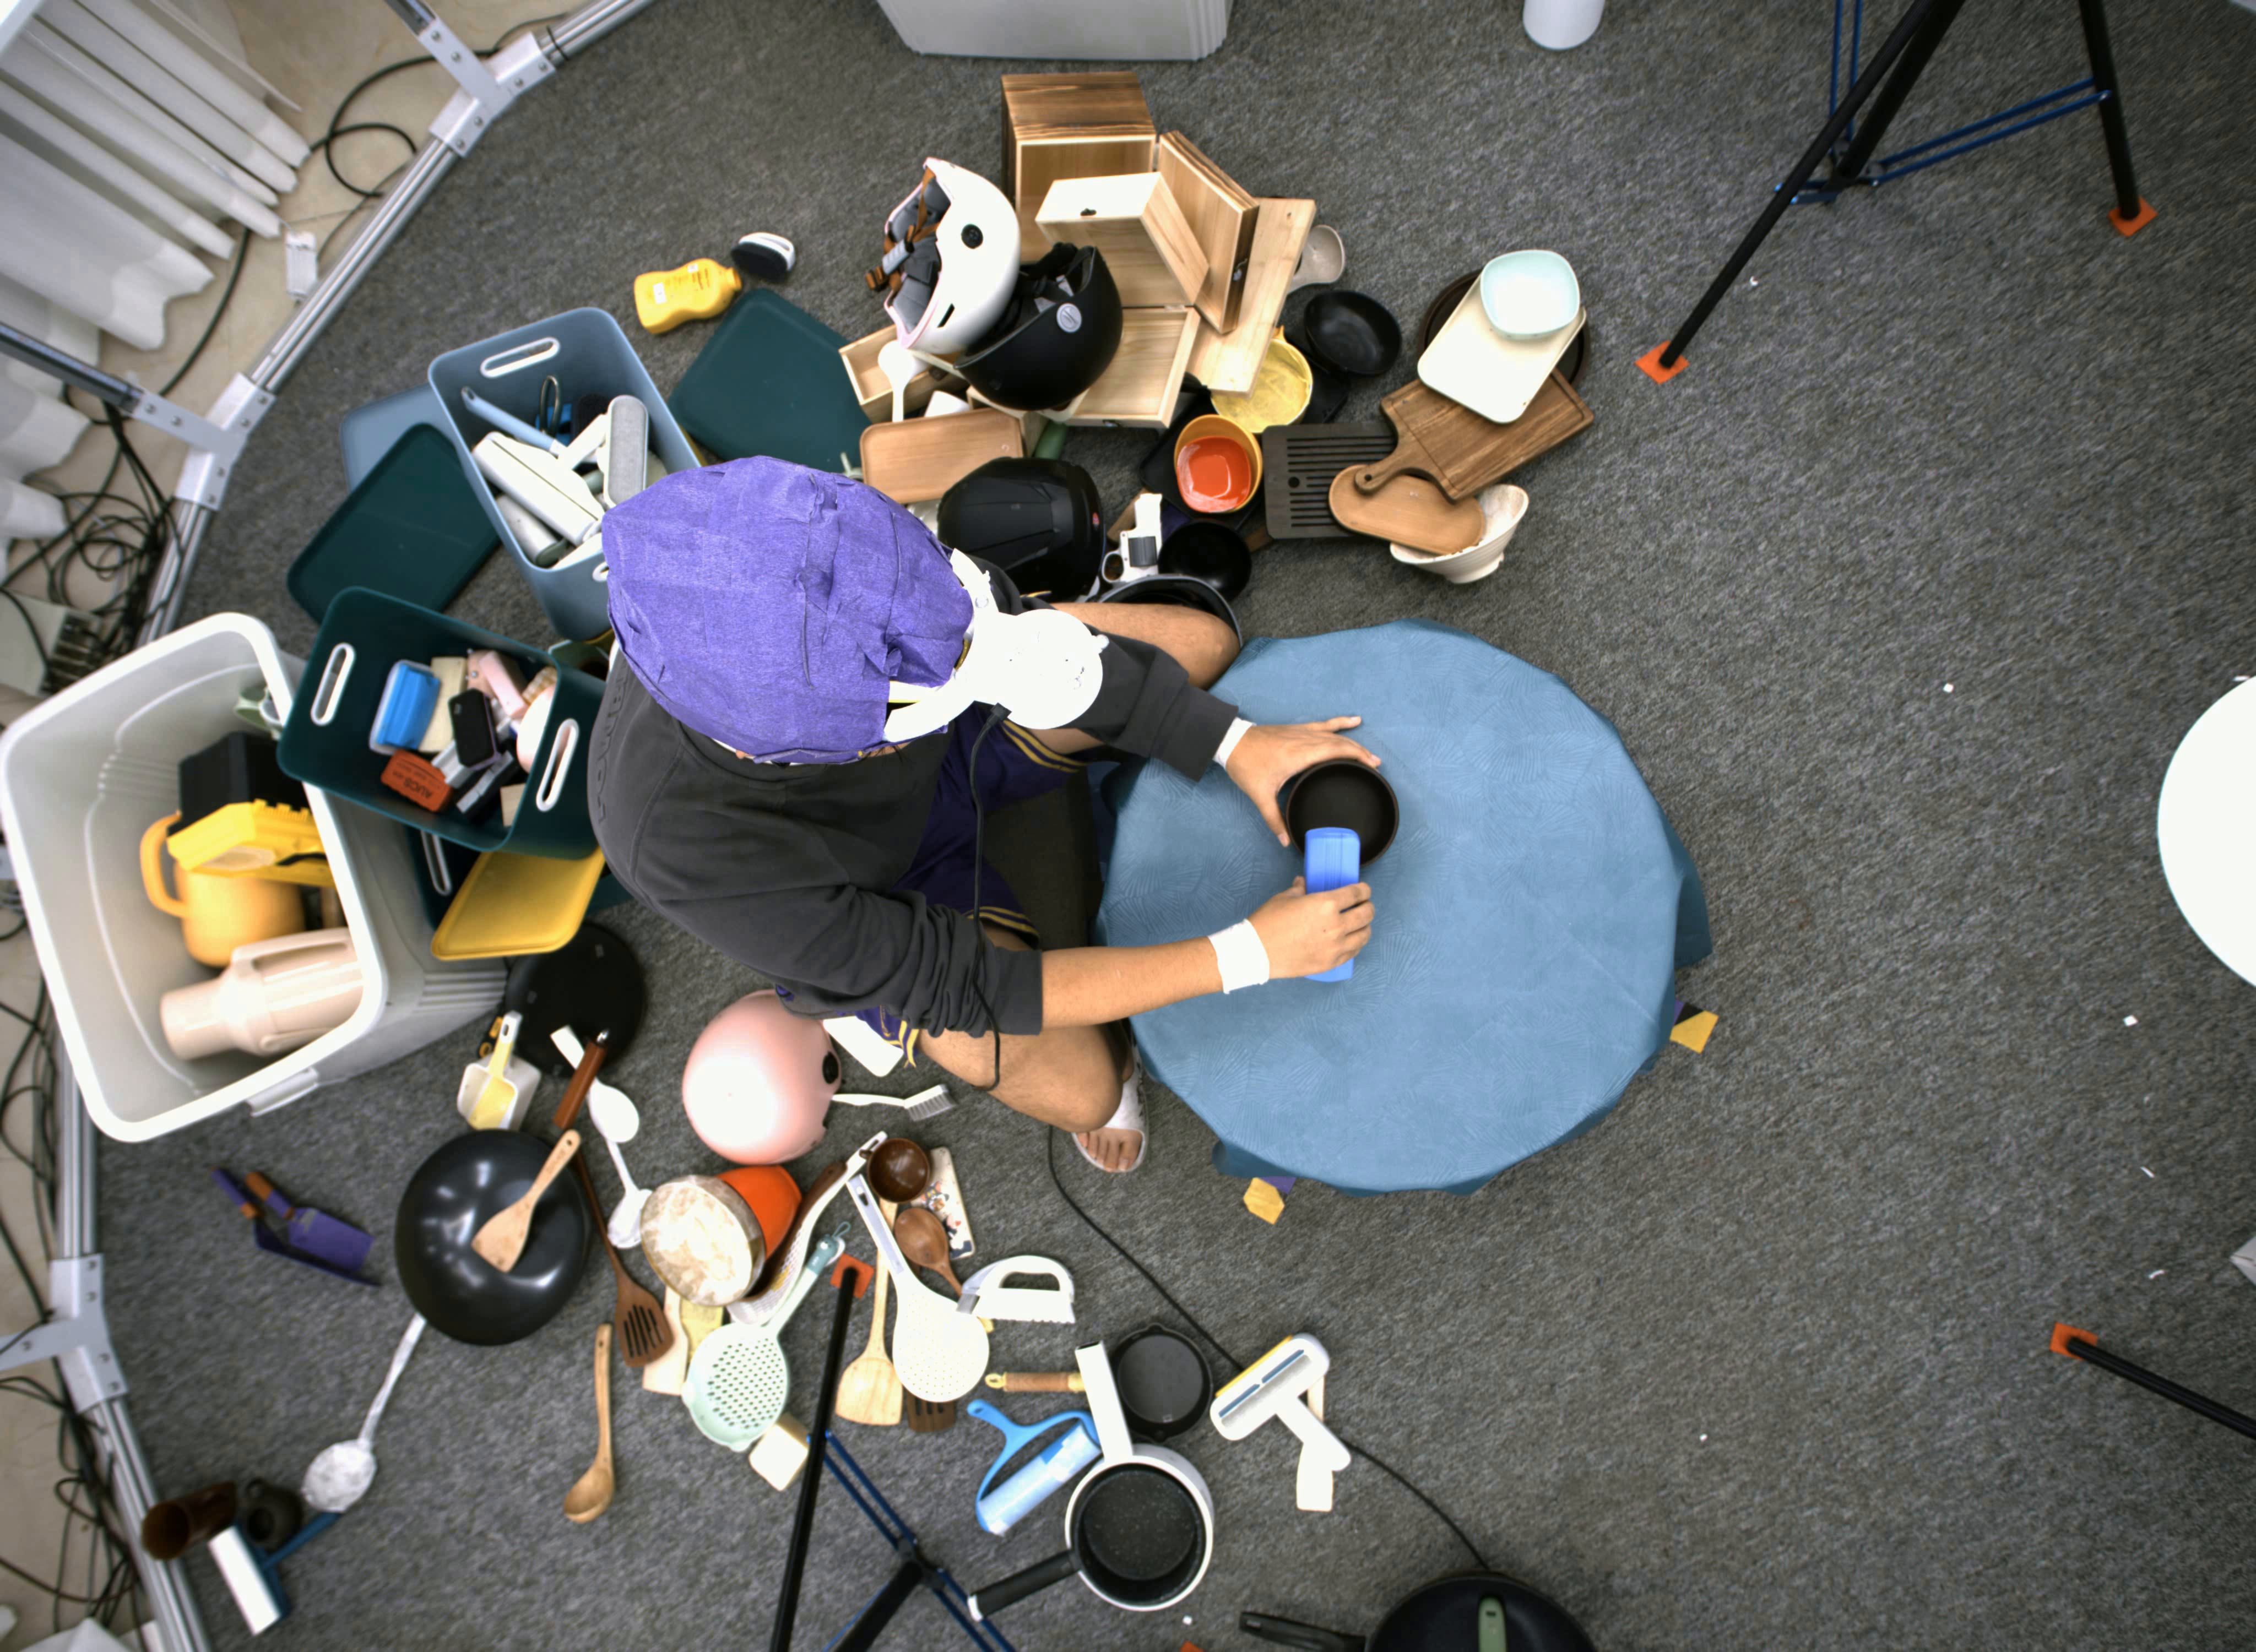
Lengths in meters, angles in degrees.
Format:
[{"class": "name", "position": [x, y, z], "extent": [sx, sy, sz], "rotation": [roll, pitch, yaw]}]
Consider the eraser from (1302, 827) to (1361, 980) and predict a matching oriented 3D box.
[{"class": "eraser", "position": [0.206, 0.081, 1.400], "extent": [0.054, 0.046, 0.165], "rotation": [0, 114, 3]}]

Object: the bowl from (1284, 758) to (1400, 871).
[{"class": "bowl", "position": [0.222, -0.013, 1.432], "extent": [0.118, 0.069, 0.118], "rotation": [1, 96, 10]}]
